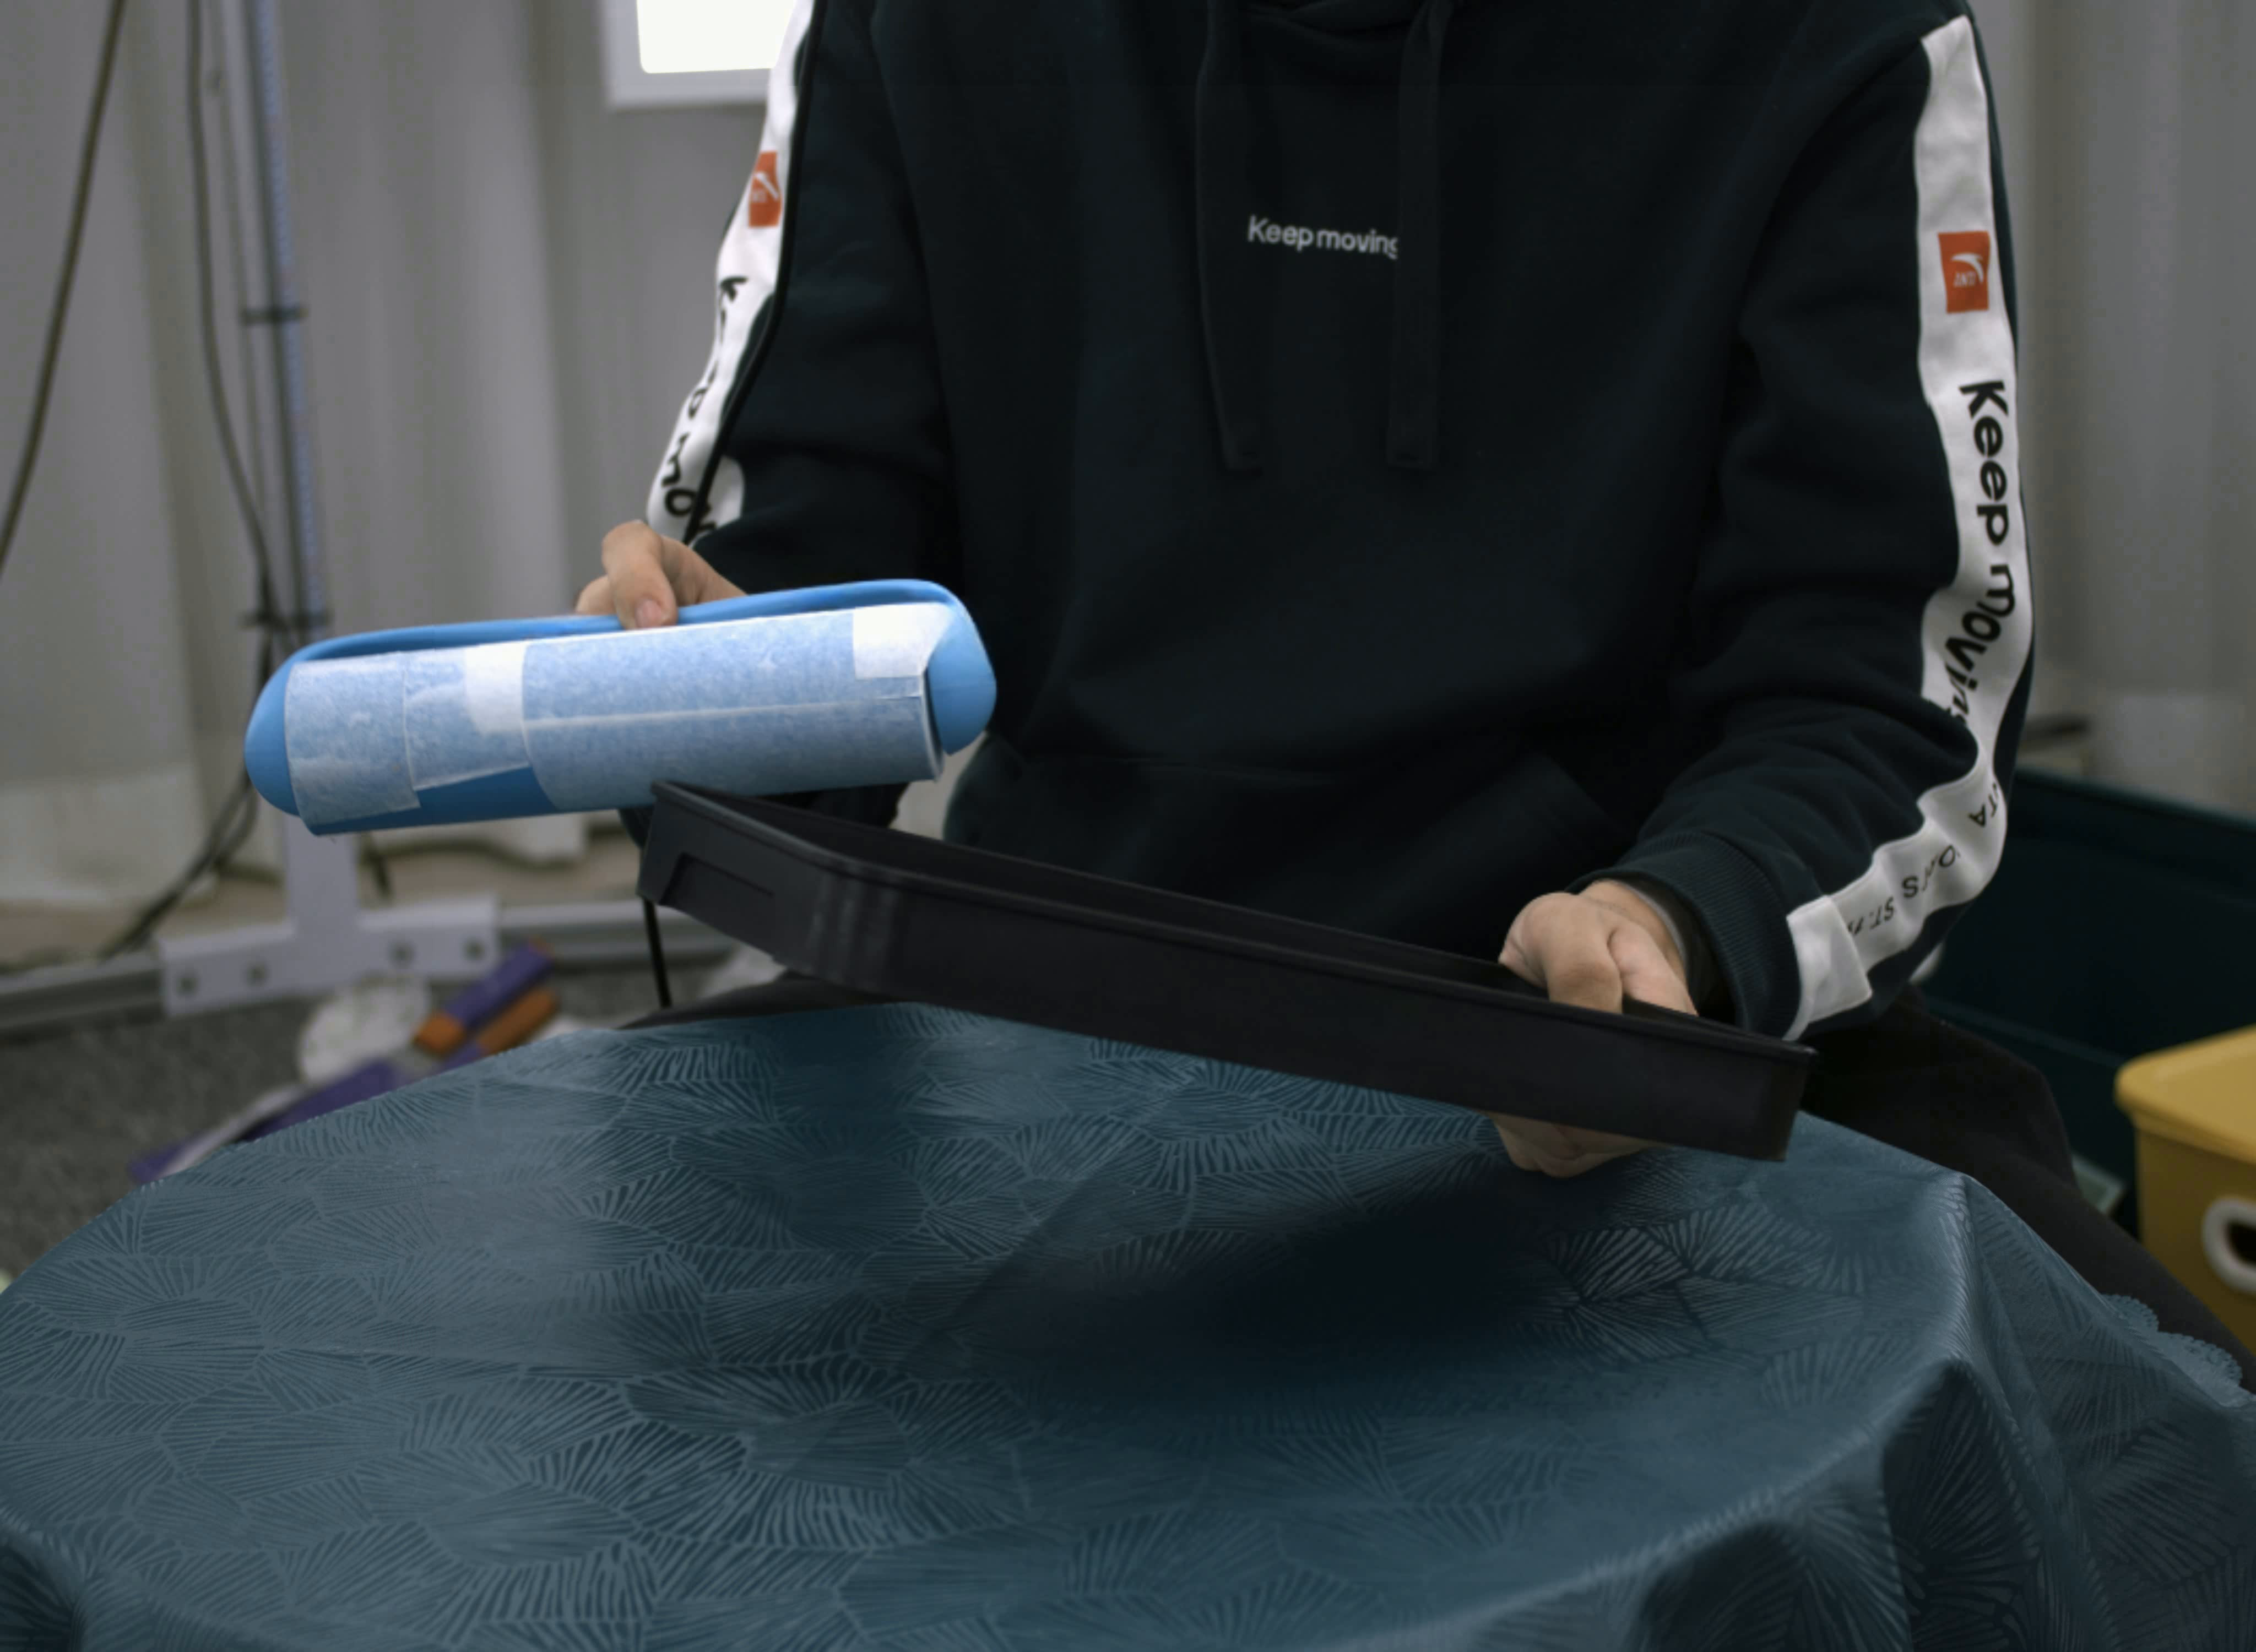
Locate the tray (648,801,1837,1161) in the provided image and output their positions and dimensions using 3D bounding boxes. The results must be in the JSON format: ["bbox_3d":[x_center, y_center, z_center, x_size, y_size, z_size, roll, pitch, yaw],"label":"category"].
[{"bbox_3d":[0.031,0.046,1.585,0.315,0.037,0.185,11,2,-25],"label":"tray"}]

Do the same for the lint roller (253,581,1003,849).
[{"bbox_3d":[-0.149,-0.034,1.710,0.228,0.068,0.180,-8,2,2],"label":"lint roller"}]
